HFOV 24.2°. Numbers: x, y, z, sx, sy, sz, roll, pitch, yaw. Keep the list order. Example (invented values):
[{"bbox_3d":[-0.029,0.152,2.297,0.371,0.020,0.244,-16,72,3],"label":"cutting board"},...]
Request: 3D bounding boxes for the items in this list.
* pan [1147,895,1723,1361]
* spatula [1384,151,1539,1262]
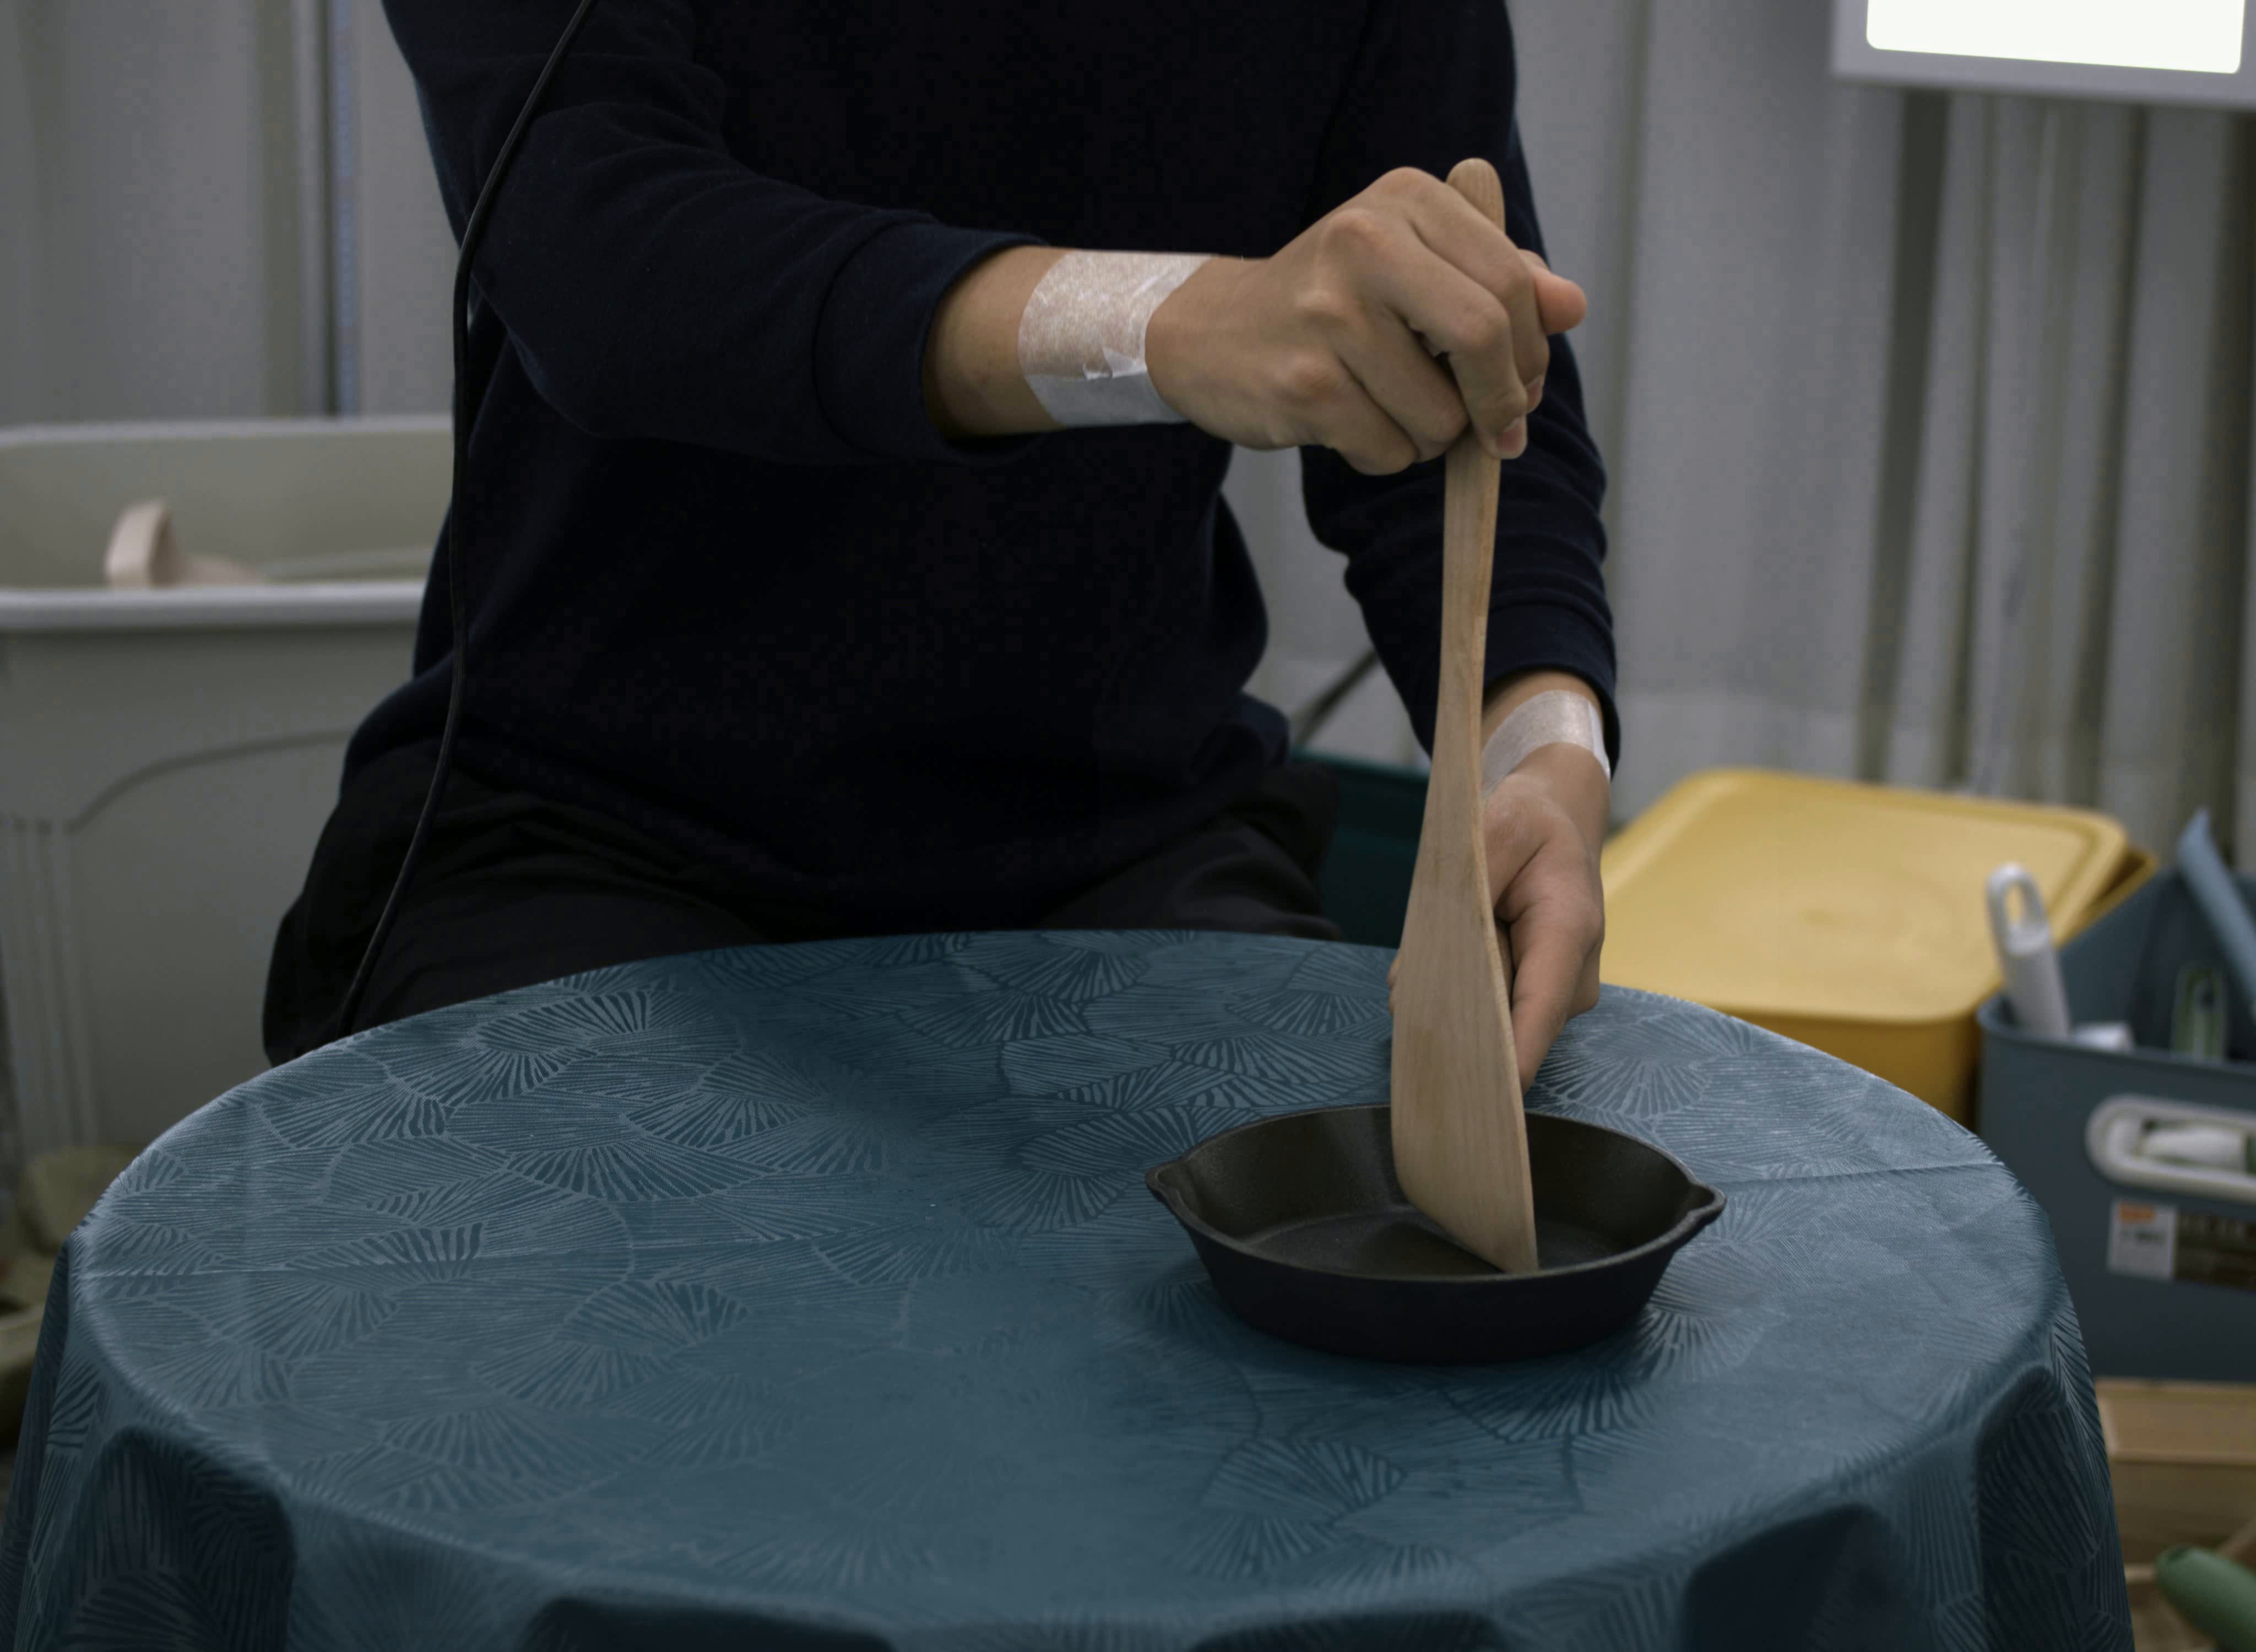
[{"bbox_3d":[0.101,0.089,1.615,0.168,0.050,0.323,3,17,8],"label":"pan"},{"bbox_3d":[0.101,-0.031,1.538,0.016,0.329,0.079,-3,9,-29],"label":"spatula"}]
